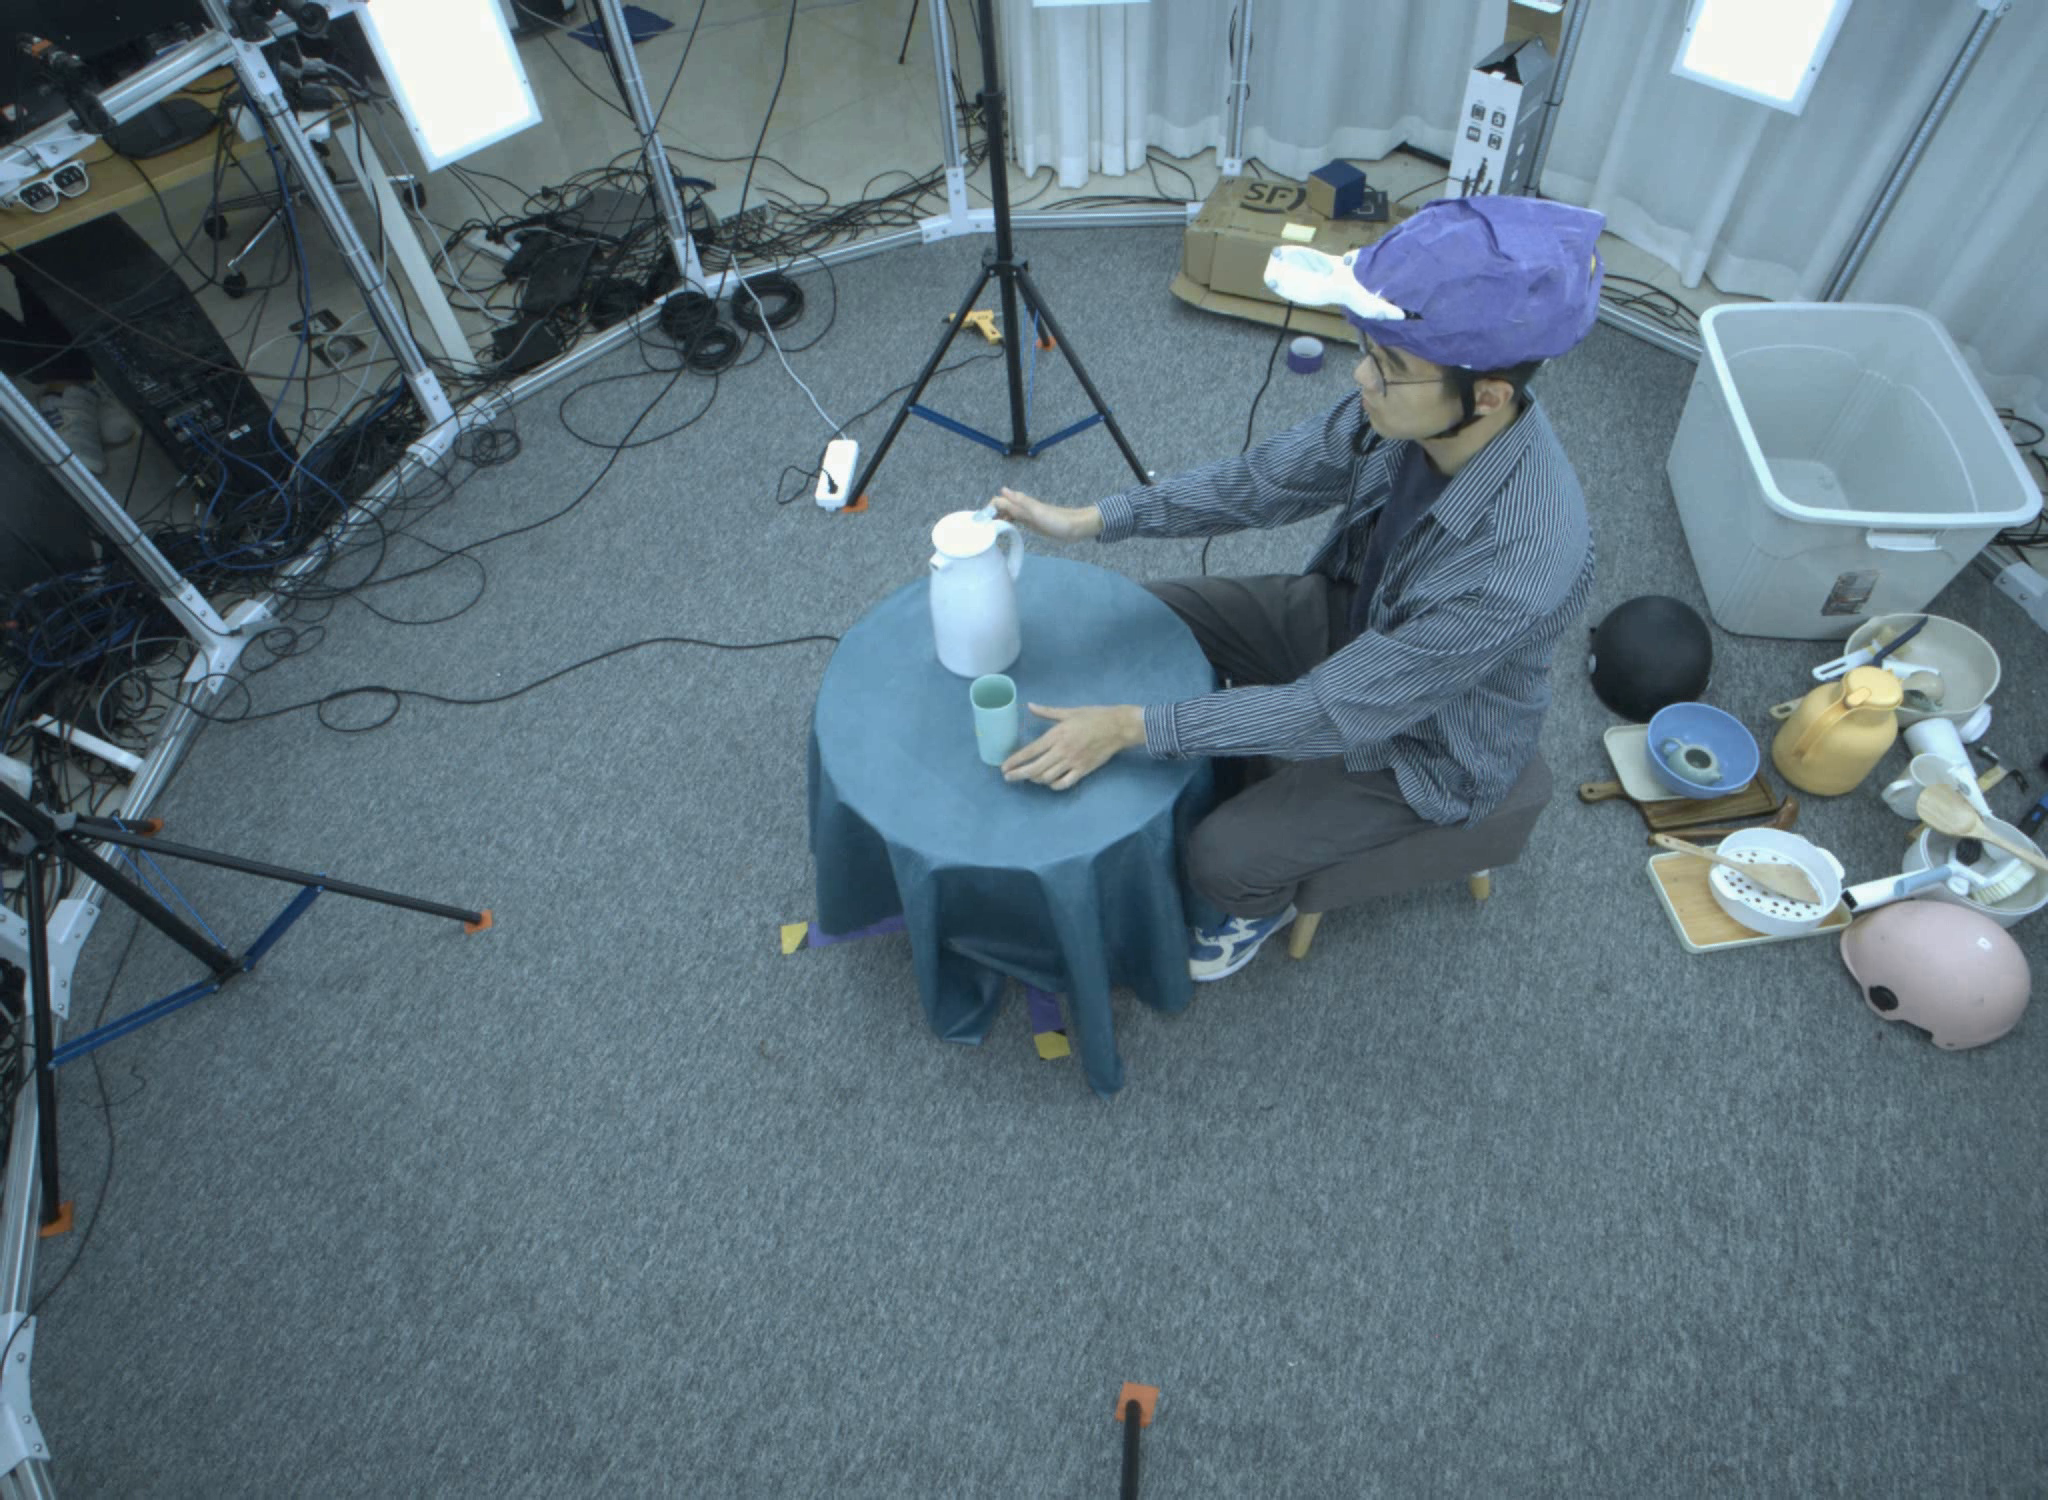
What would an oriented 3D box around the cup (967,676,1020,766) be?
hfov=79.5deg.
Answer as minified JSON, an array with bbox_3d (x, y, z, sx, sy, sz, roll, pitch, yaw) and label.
[{"bbox_3d":[-0.040,-0.040,1.744,0.066,0.134,0.066,-2,55,4],"label":"cup"}]

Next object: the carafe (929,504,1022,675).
[{"bbox_3d":[-0.066,-0.251,1.814,0.130,0.251,0.169,33,62,25],"label":"carafe"}]
